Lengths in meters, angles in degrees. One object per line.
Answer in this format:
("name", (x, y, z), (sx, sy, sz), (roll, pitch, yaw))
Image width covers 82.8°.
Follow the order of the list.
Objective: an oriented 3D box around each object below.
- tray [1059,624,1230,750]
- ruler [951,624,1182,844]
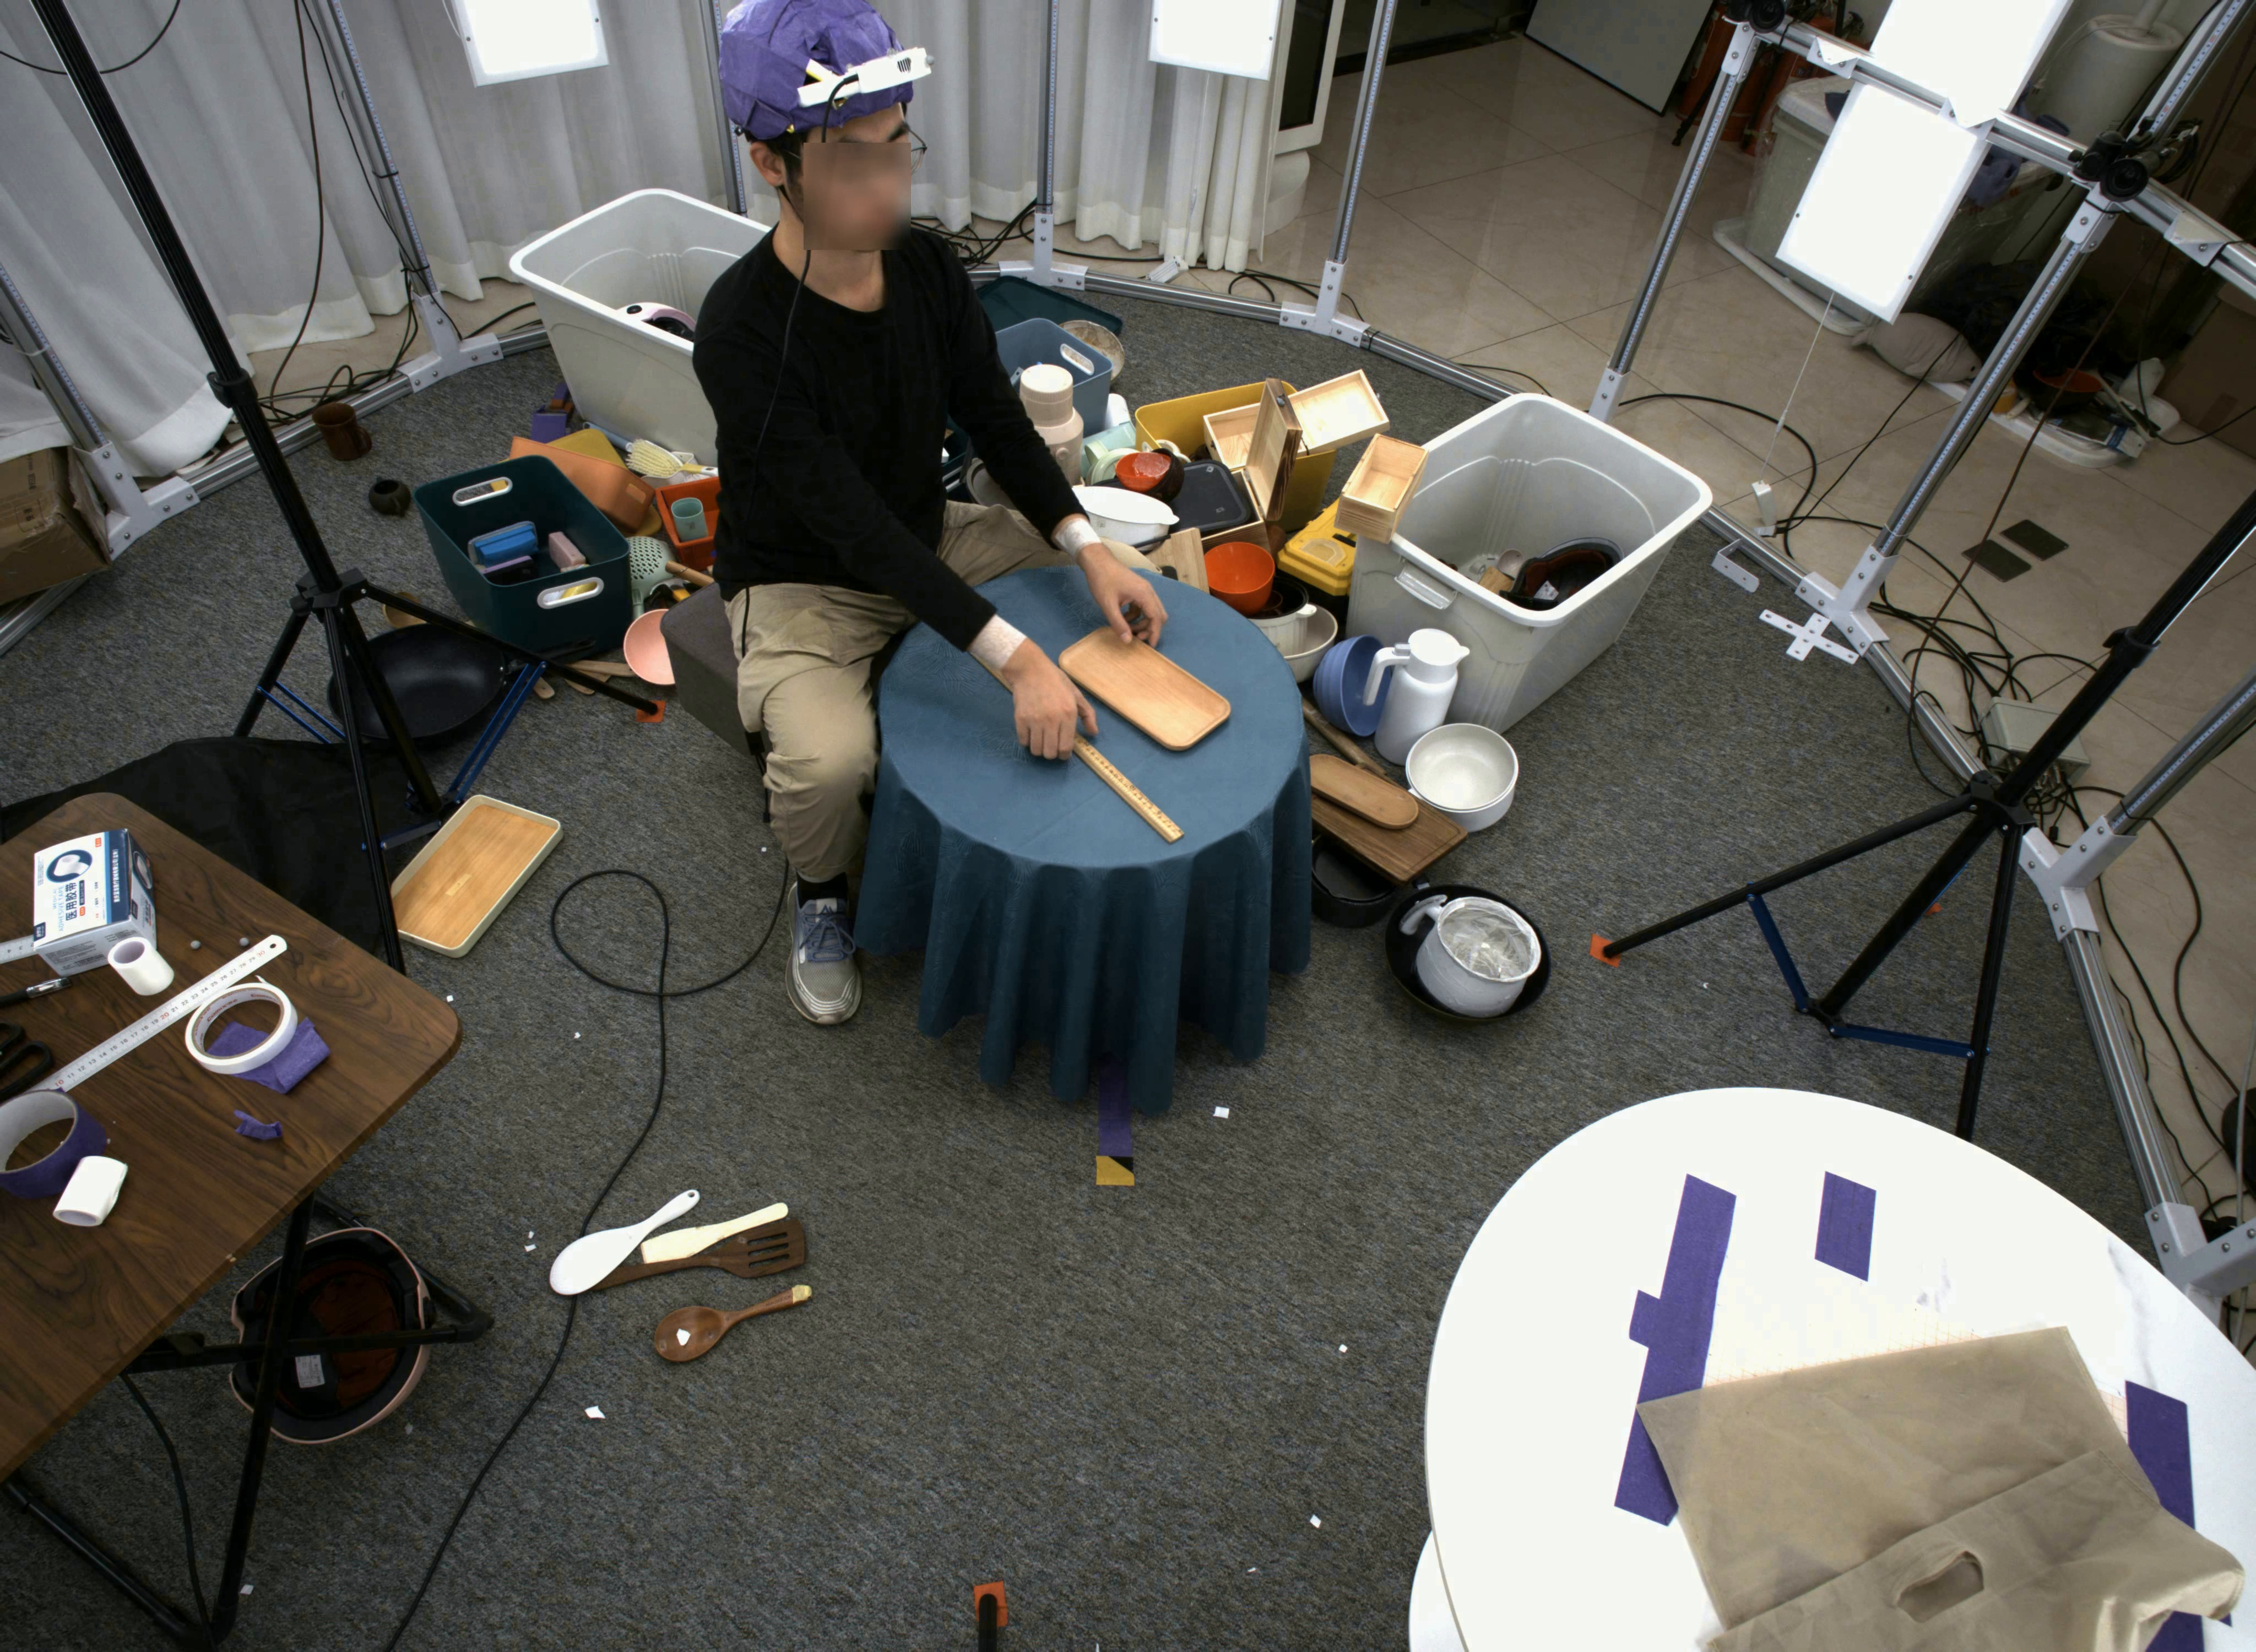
("tray", (0.022, -0.201, 1.835), (0.132, 0.022, 0.254), (-34, 58, -31))
("ruler", (-0.095, -0.138, 1.781), (0.027, 0.006, 0.509), (-28, 56, -28))
